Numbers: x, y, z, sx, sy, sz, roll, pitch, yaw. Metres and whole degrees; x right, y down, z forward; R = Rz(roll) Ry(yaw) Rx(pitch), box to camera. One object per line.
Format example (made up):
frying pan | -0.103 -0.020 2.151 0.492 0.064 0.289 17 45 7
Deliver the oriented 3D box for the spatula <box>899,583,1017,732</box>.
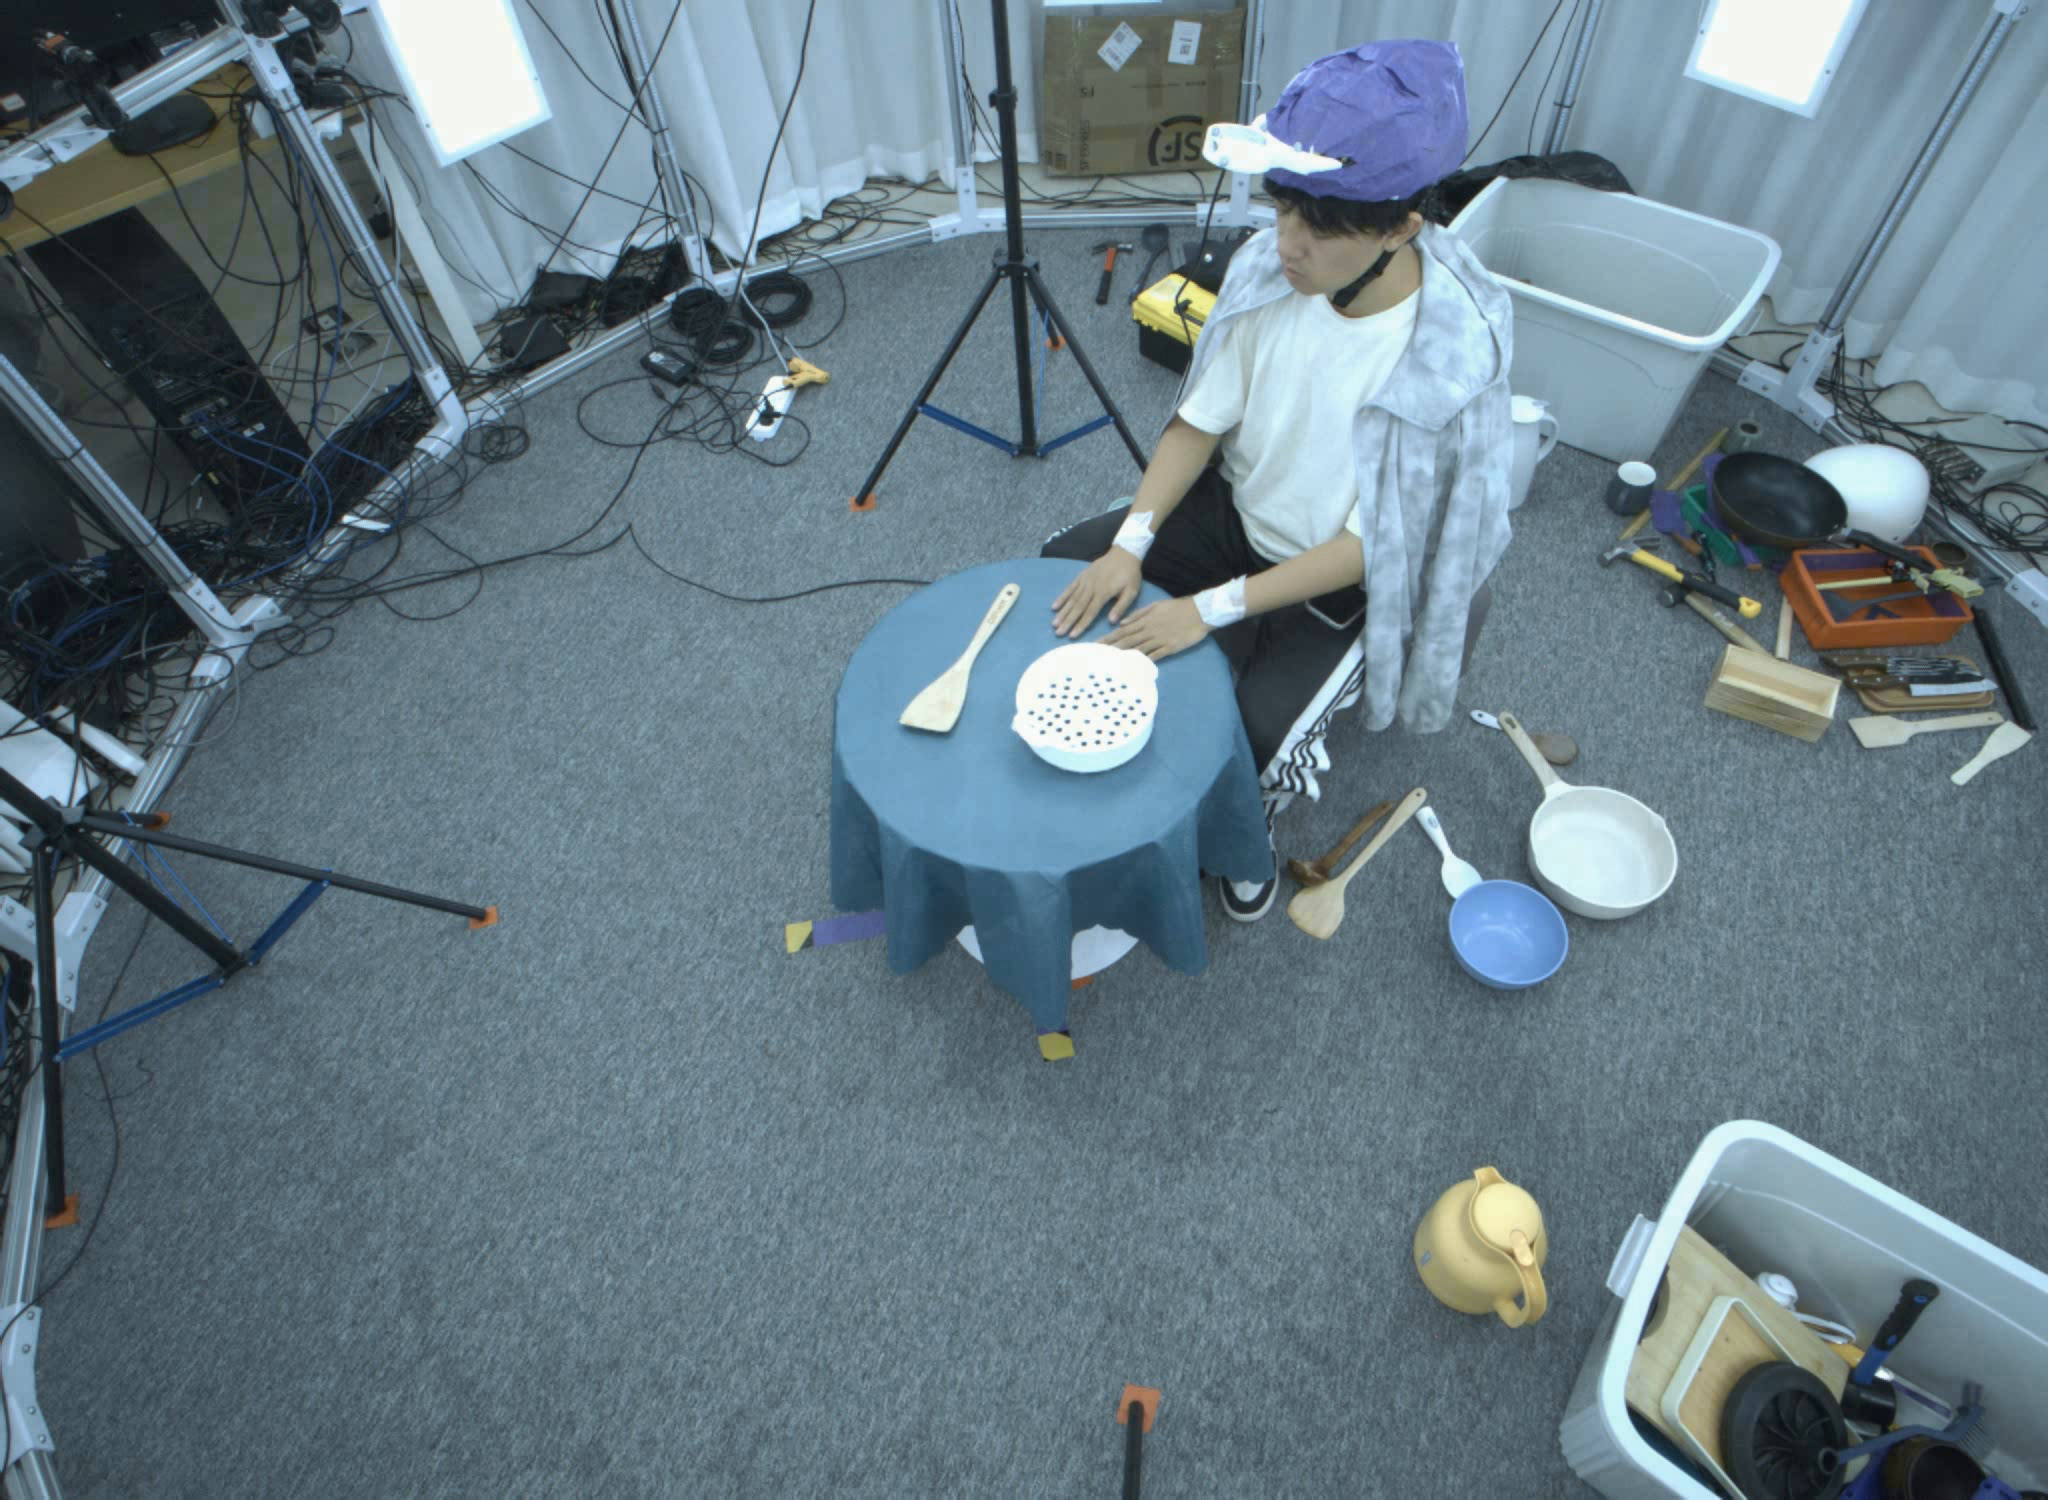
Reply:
spatula | -0.085 -0.147 1.885 0.079 0.017 0.328 20 58 14

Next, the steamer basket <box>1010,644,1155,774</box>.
steamer basket | 0.086 -0.058 1.787 0.232 0.070 0.198 -31 61 -19
